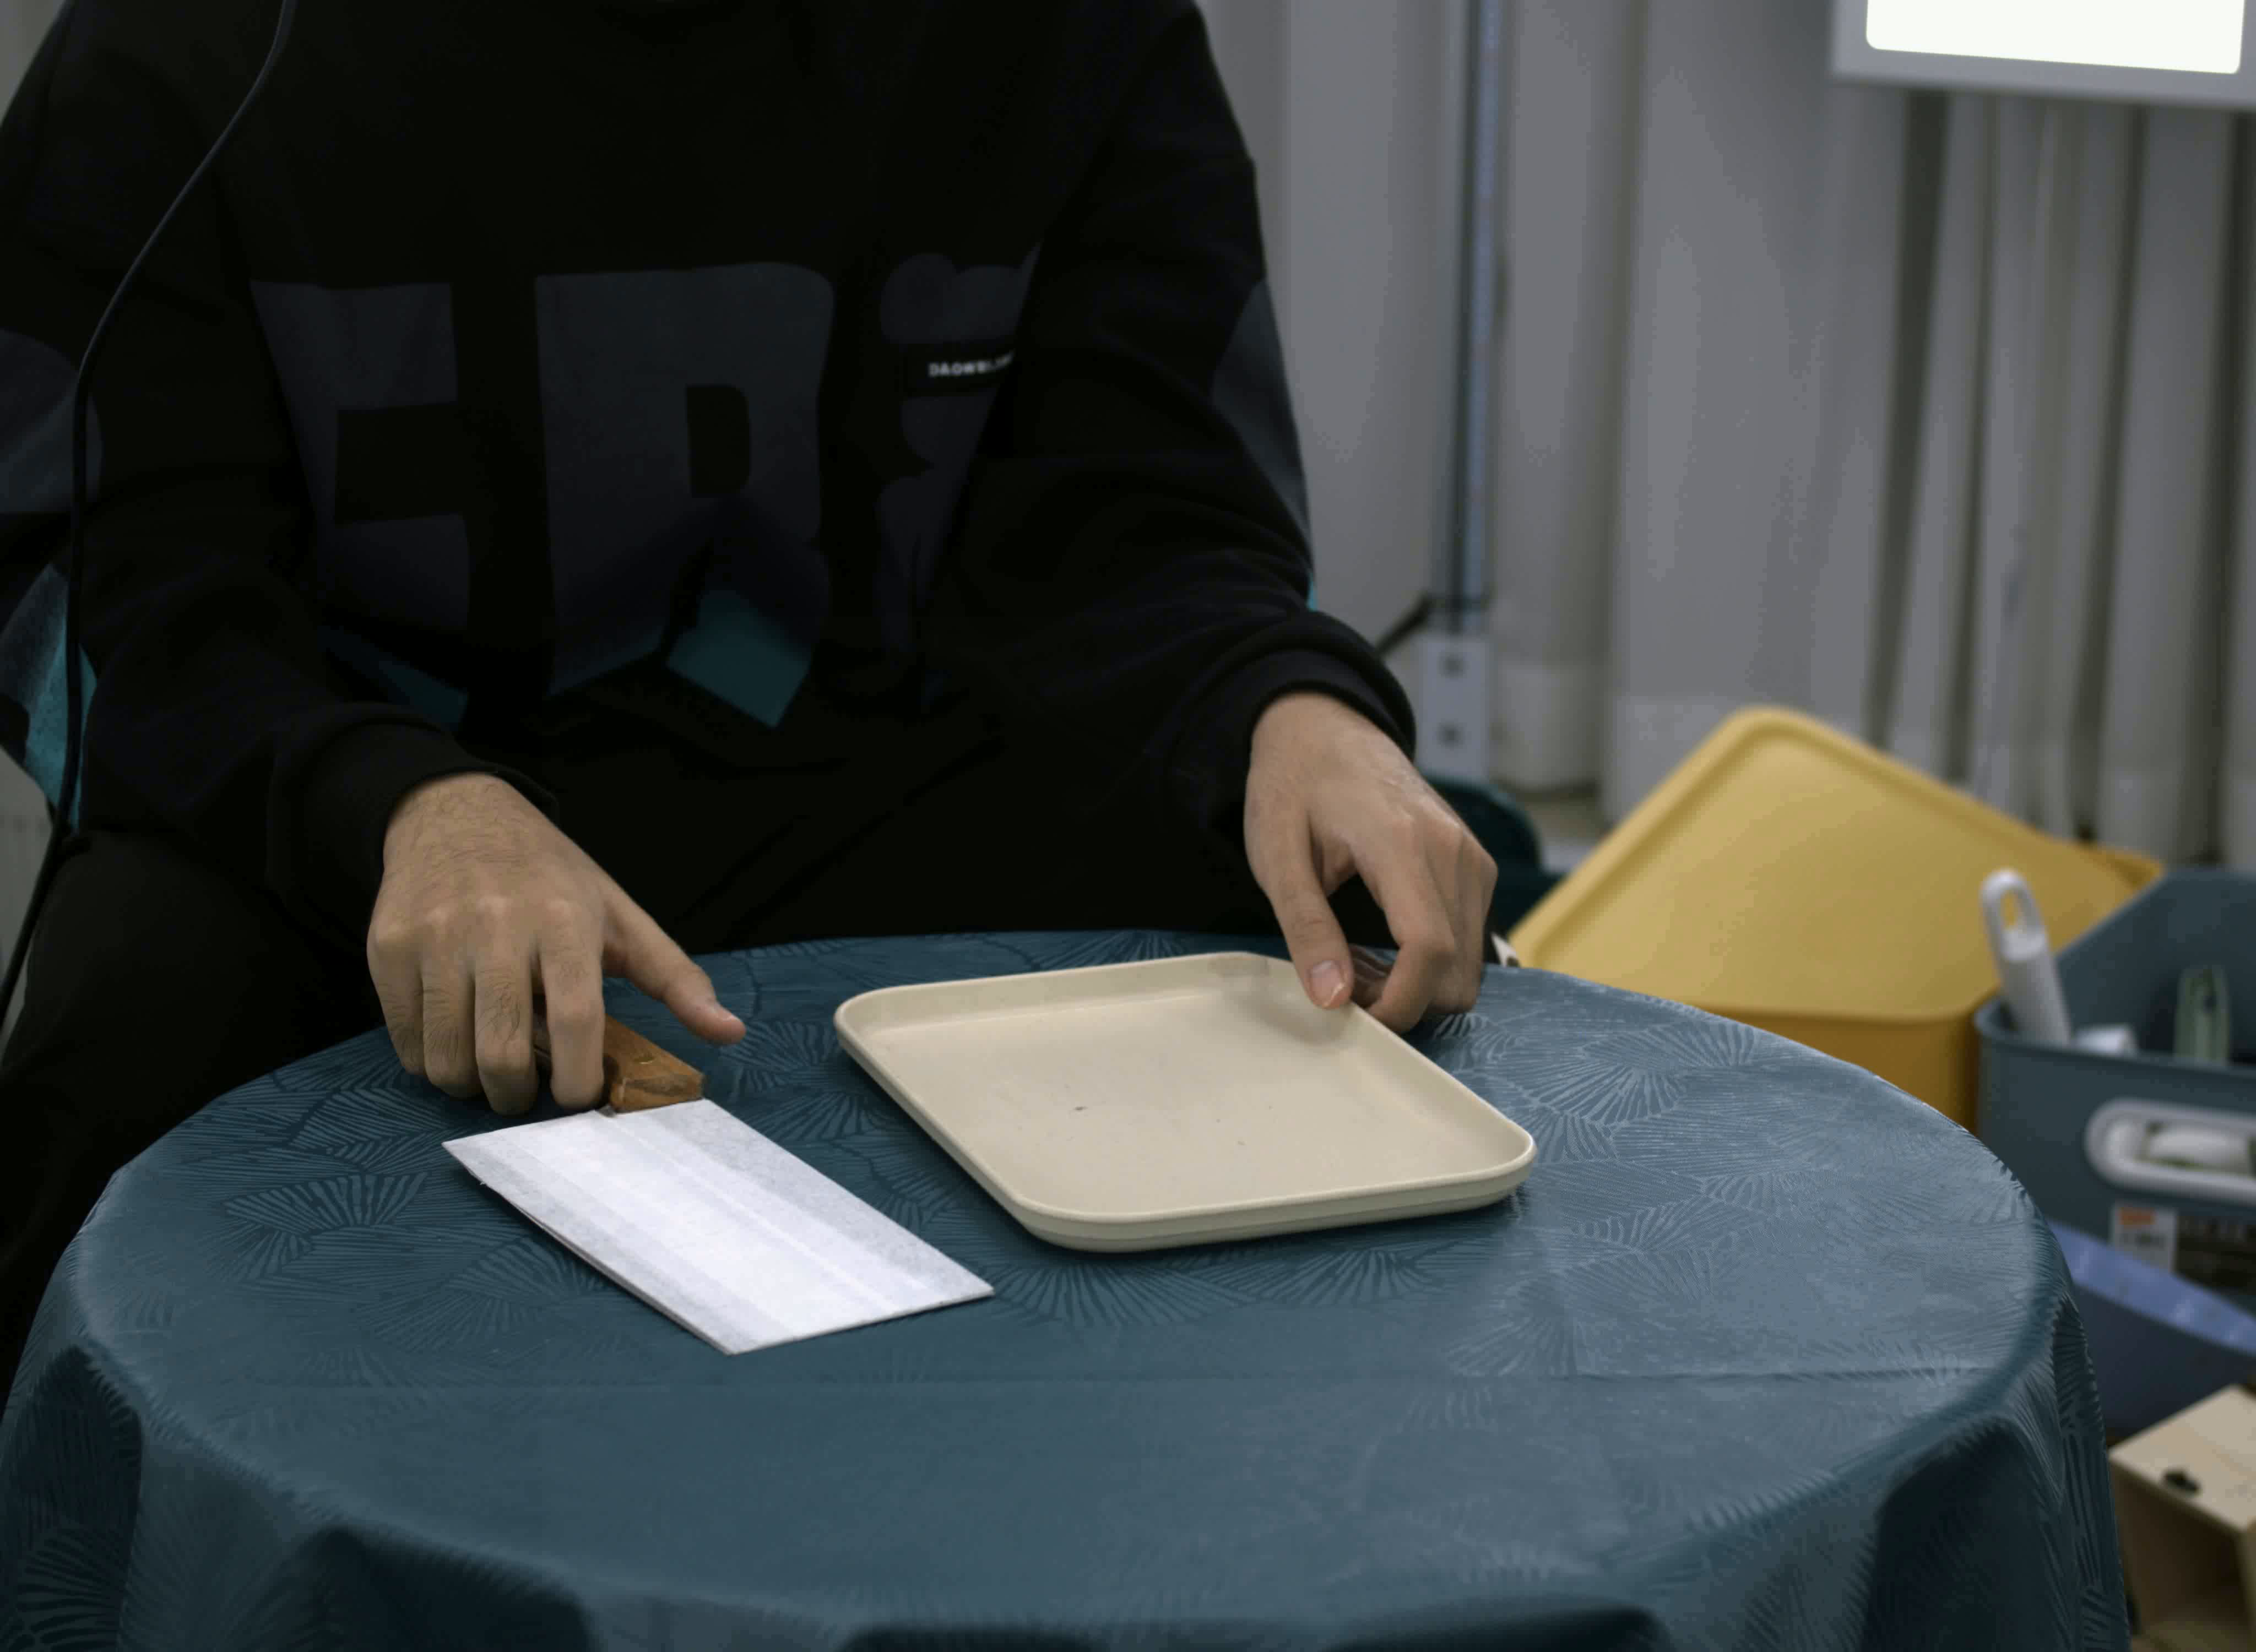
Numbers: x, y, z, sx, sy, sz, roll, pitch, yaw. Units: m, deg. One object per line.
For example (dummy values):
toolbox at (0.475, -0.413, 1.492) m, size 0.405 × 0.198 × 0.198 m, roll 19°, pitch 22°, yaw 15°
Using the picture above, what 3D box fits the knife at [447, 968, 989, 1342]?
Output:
knife at (-0.155, 0.101, 1.628) m, size 0.093 × 0.021 × 0.301 m, roll -11°, pitch 22°, yaw -31°

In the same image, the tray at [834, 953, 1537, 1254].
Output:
tray at (0.014, 0.087, 1.679) m, size 0.172 × 0.017 × 0.237 m, roll -6°, pitch 17°, yaw -19°
